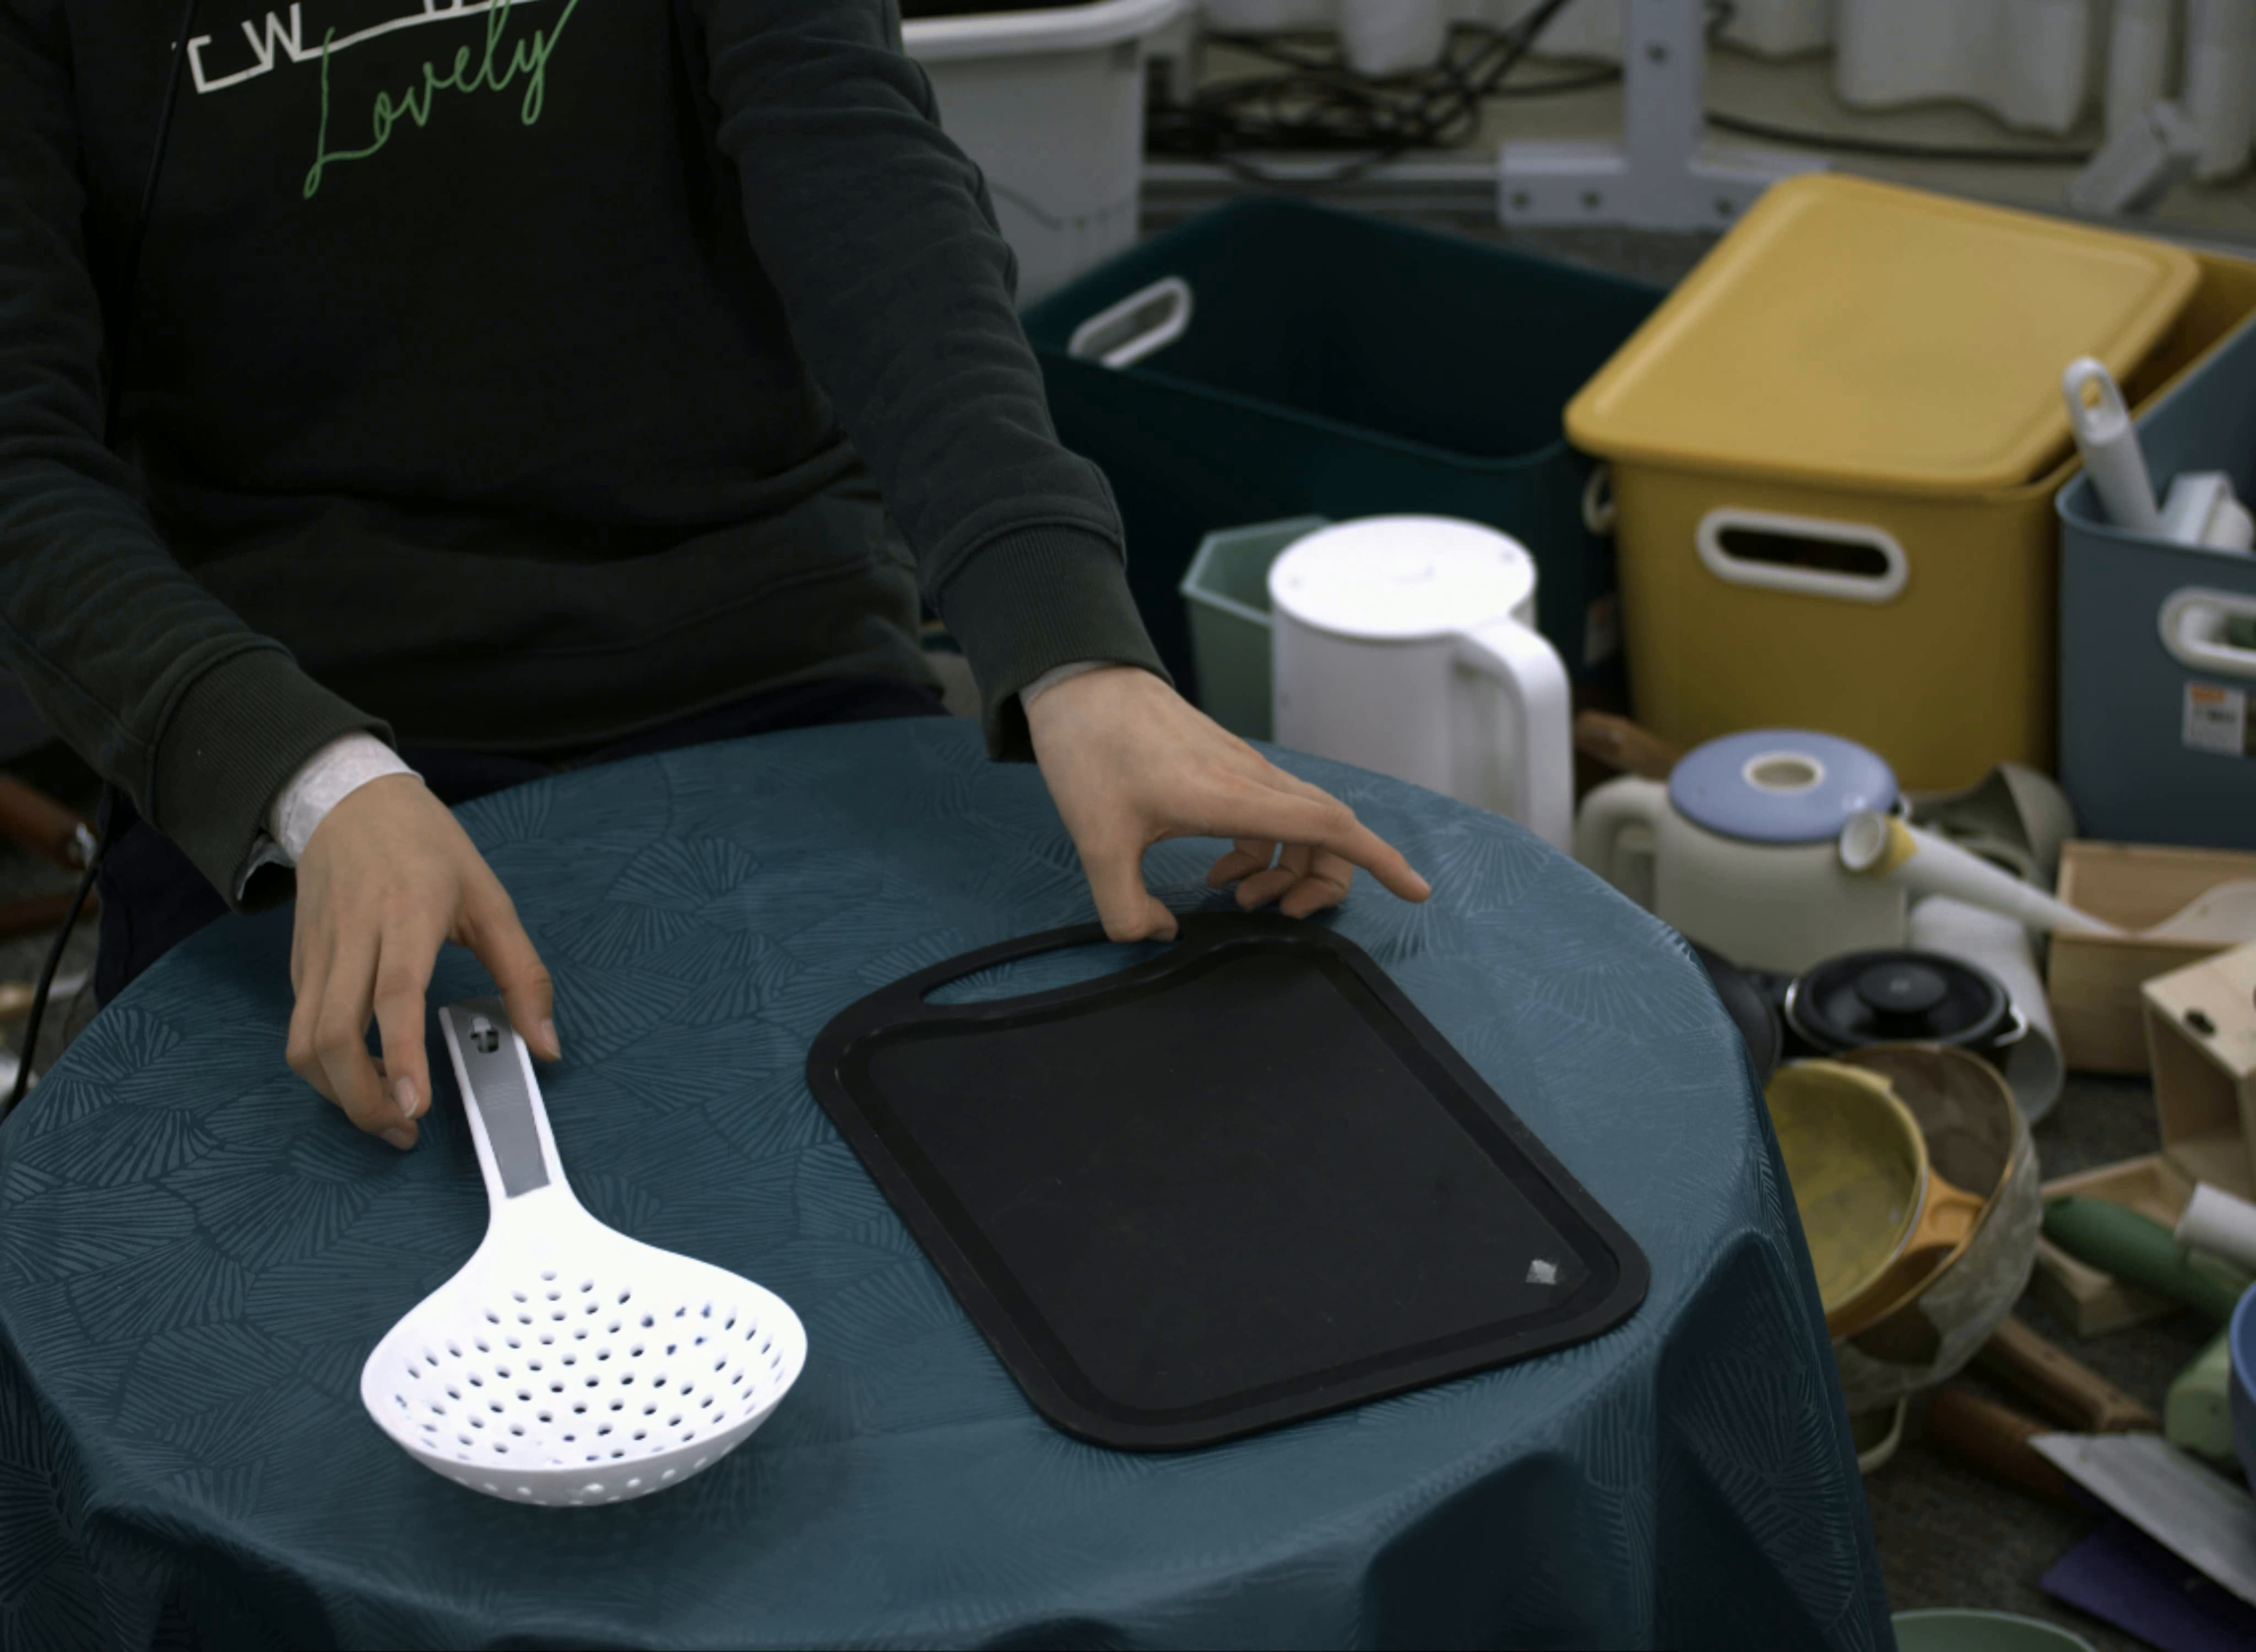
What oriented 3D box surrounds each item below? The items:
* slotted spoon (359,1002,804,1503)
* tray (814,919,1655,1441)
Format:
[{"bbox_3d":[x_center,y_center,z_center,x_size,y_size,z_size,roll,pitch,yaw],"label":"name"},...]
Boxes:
[{"bbox_3d":[-0.190,0.131,1.813,0.136,0.045,0.353,-6,26,-11],"label":"slotted spoon"},{"bbox_3d":[0.025,0.108,1.877,0.211,0.009,0.328,-12,28,-18],"label":"tray"}]
